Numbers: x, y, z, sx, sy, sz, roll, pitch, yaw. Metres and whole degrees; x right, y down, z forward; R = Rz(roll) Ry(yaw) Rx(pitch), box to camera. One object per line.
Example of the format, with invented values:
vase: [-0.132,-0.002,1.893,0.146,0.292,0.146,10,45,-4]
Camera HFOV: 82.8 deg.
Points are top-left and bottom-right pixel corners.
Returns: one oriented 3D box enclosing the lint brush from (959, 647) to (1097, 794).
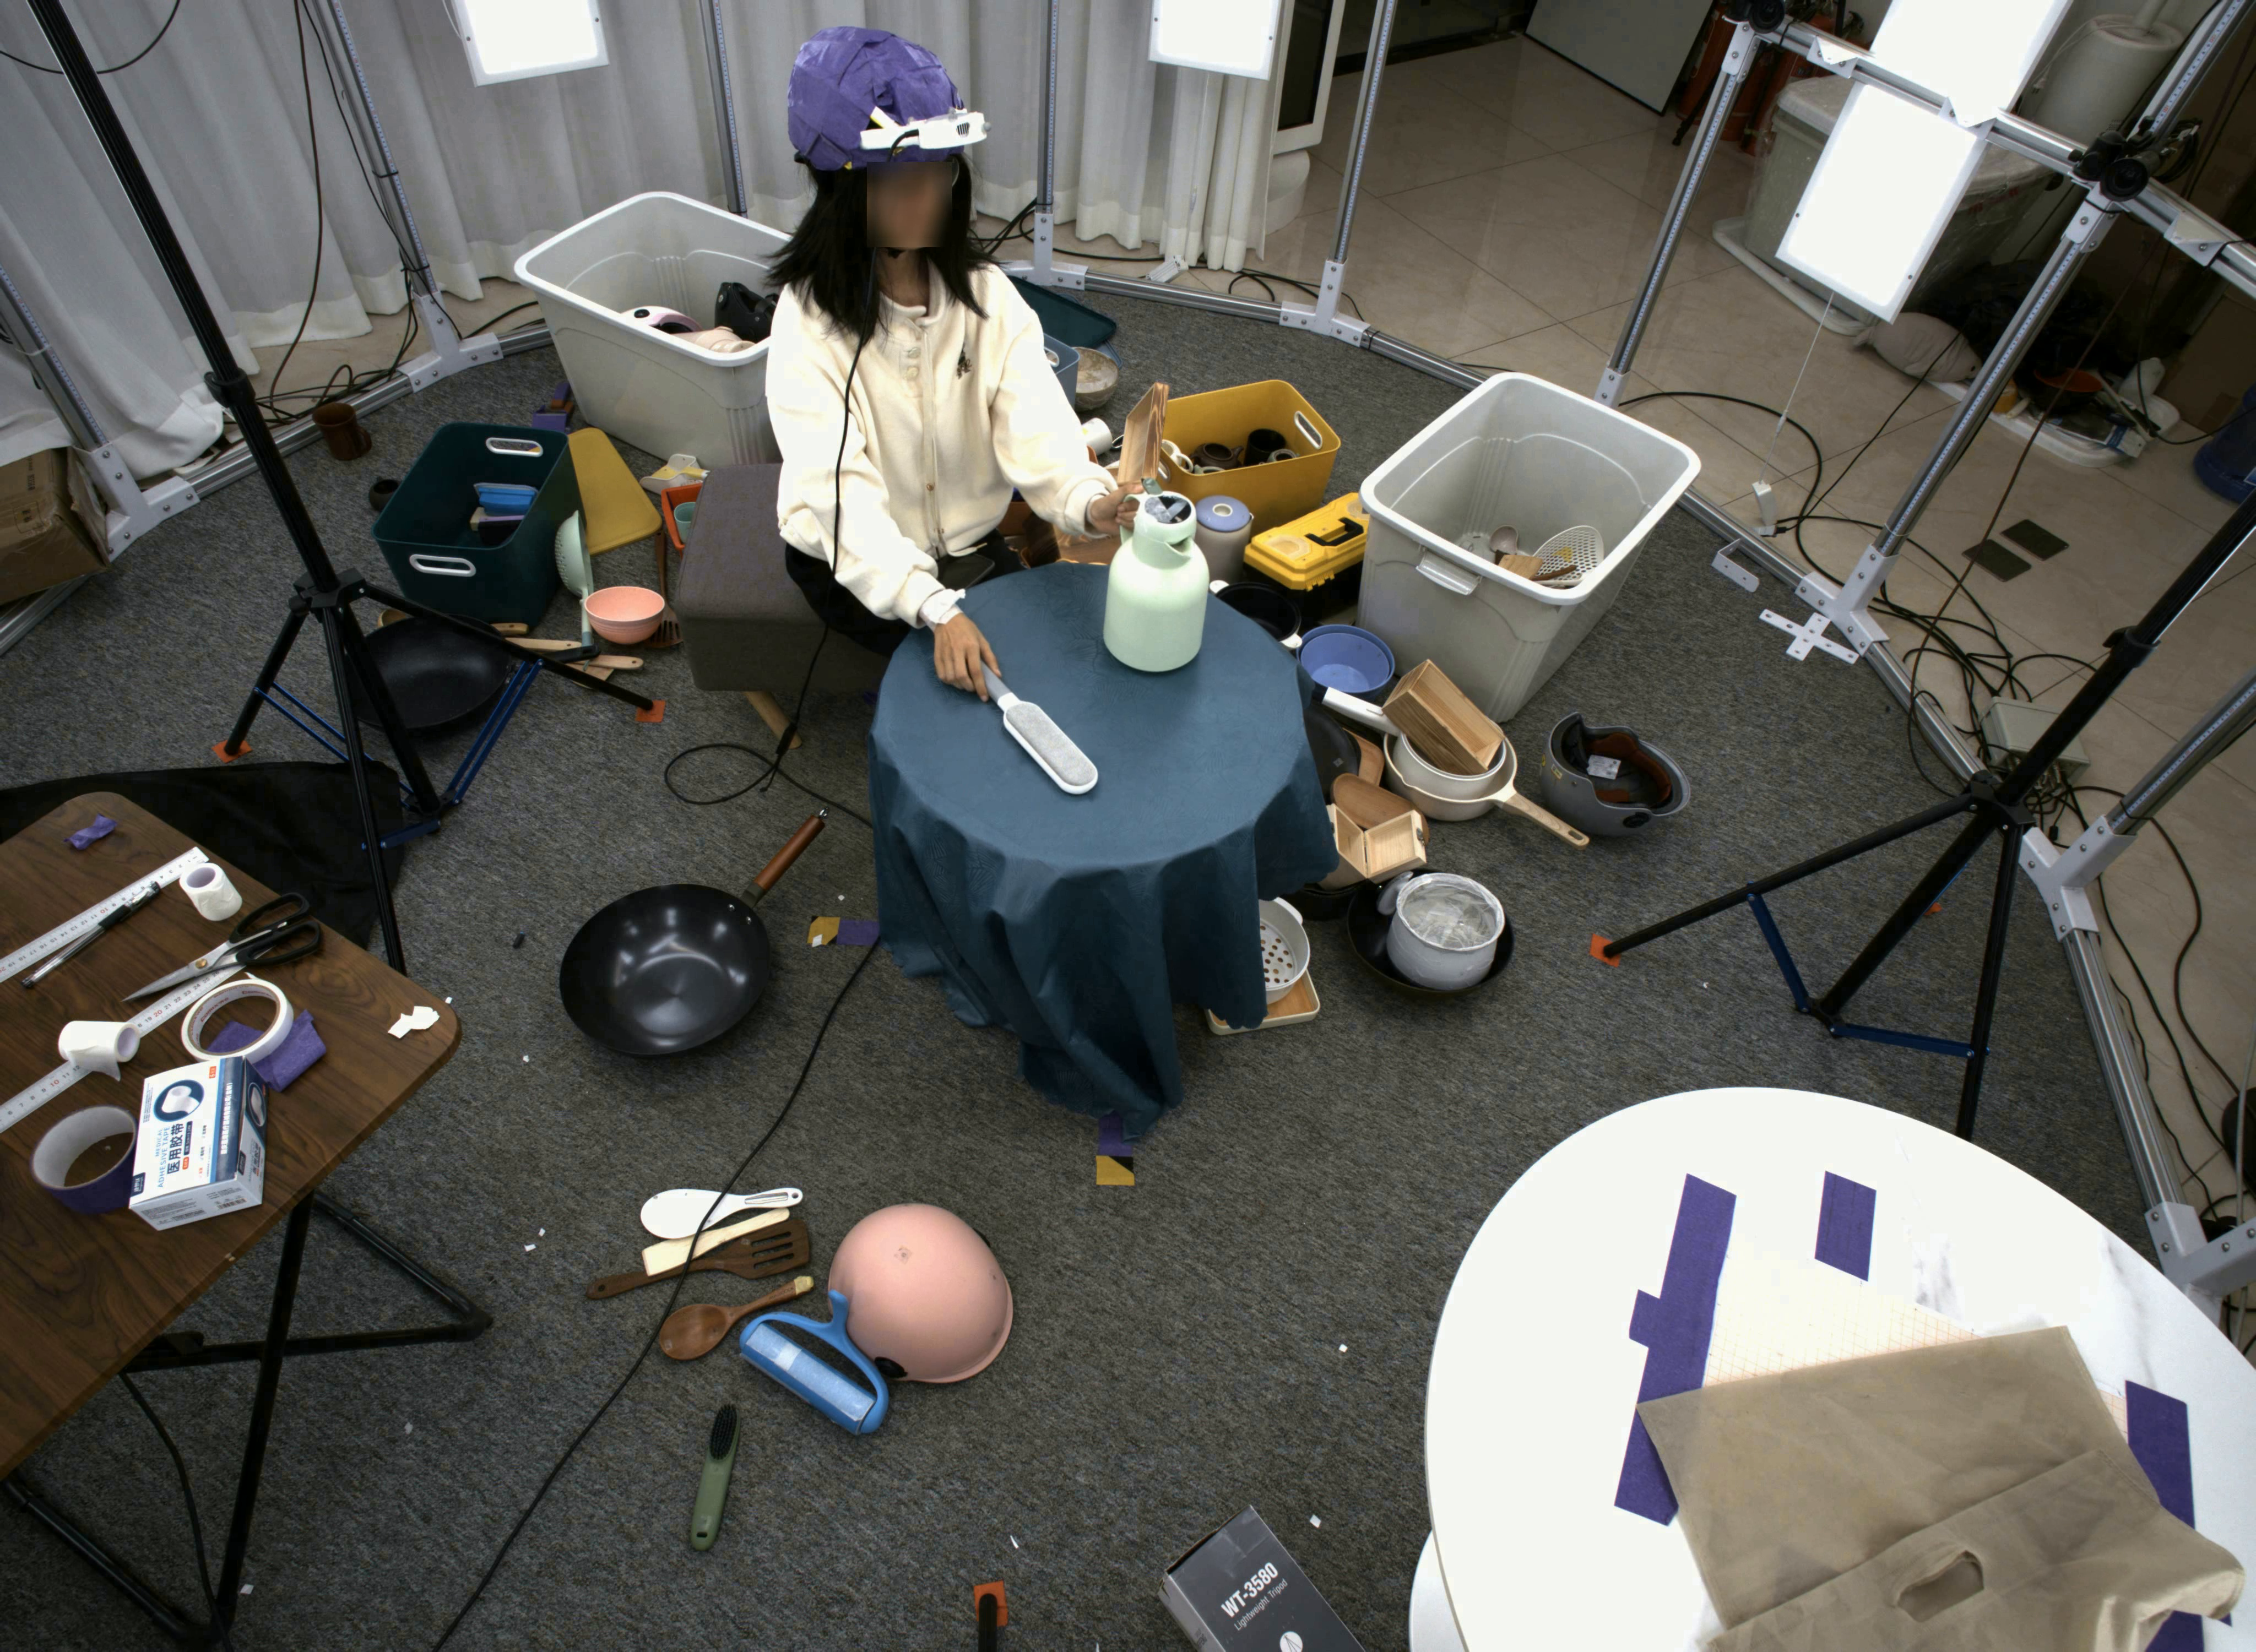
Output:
lint brush: [-0.143,-0.151,1.771,0.060,0.020,0.314,-28,58,-24]

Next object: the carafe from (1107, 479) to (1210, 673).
carafe: [0.039,-0.358,1.819,0.144,0.250,0.191,-18,51,-16]
